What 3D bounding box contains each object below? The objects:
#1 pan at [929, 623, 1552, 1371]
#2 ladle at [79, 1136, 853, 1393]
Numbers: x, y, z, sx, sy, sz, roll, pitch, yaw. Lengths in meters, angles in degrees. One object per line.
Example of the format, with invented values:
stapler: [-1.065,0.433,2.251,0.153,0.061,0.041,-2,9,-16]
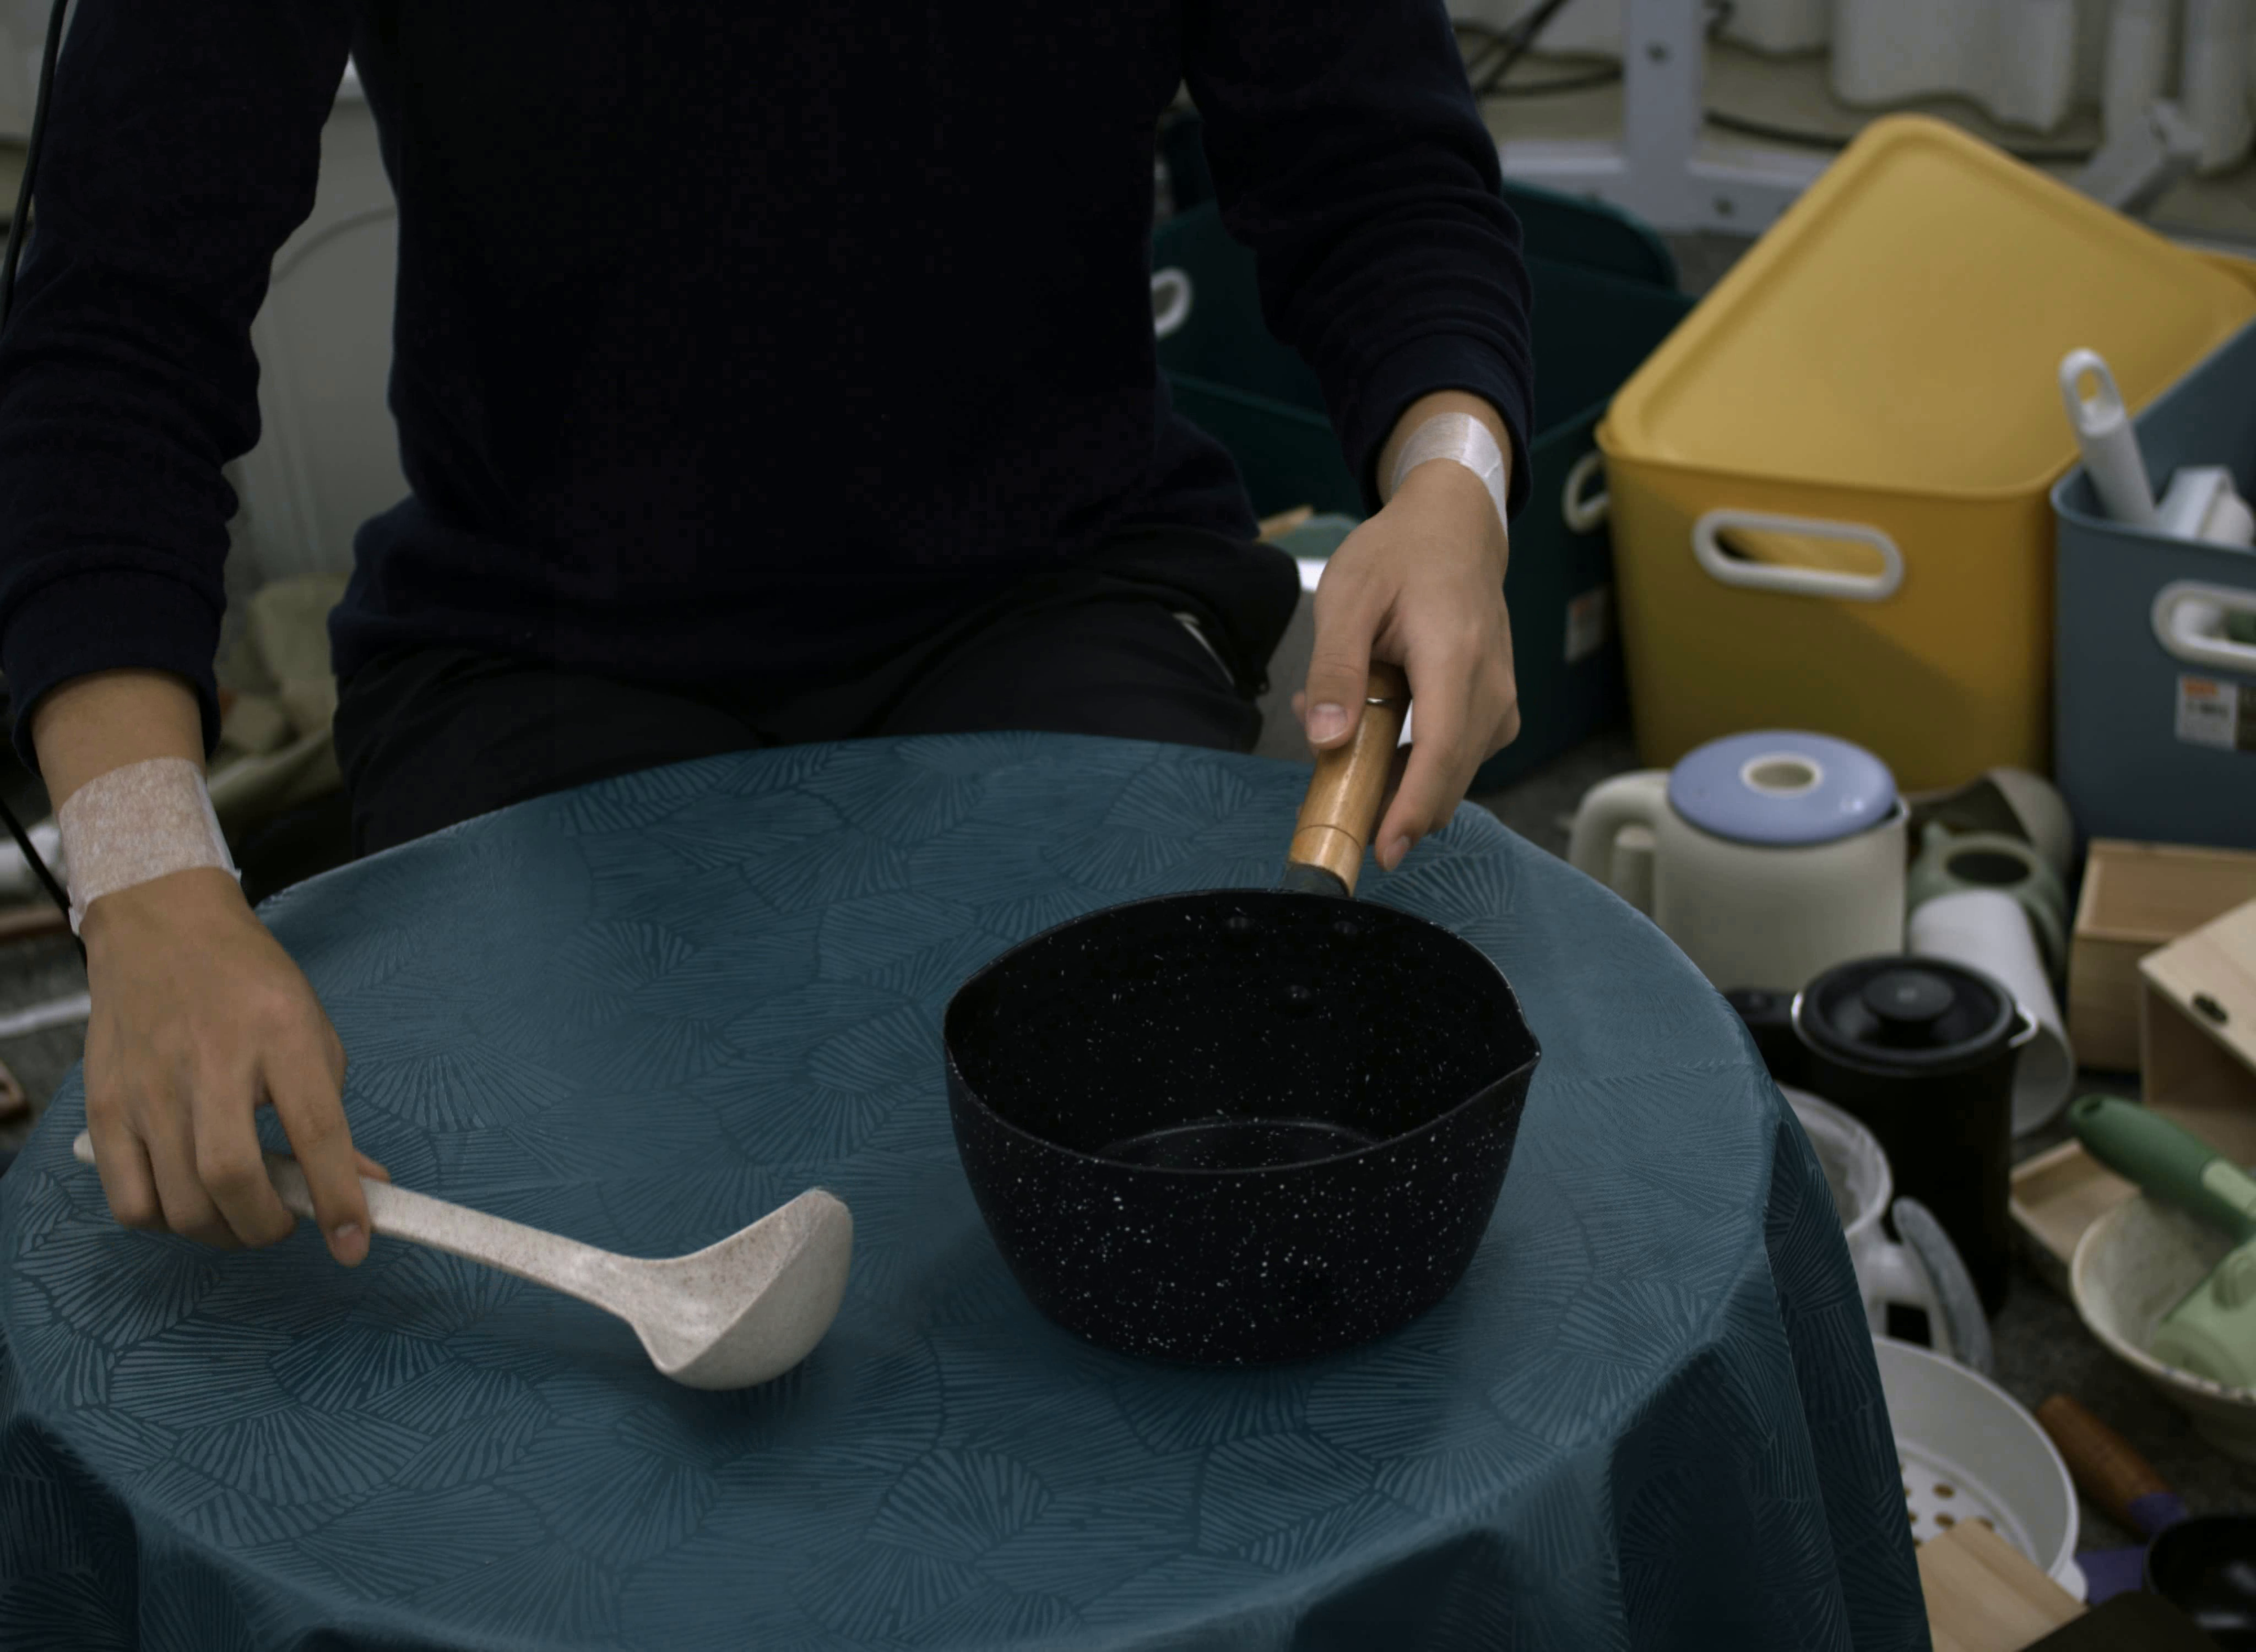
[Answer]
pan: [0.052,0.053,1.874,0.206,0.107,0.349,3,28,13]
ladle: [-0.217,0.116,1.787,0.273,0.068,0.091,15,41,17]
